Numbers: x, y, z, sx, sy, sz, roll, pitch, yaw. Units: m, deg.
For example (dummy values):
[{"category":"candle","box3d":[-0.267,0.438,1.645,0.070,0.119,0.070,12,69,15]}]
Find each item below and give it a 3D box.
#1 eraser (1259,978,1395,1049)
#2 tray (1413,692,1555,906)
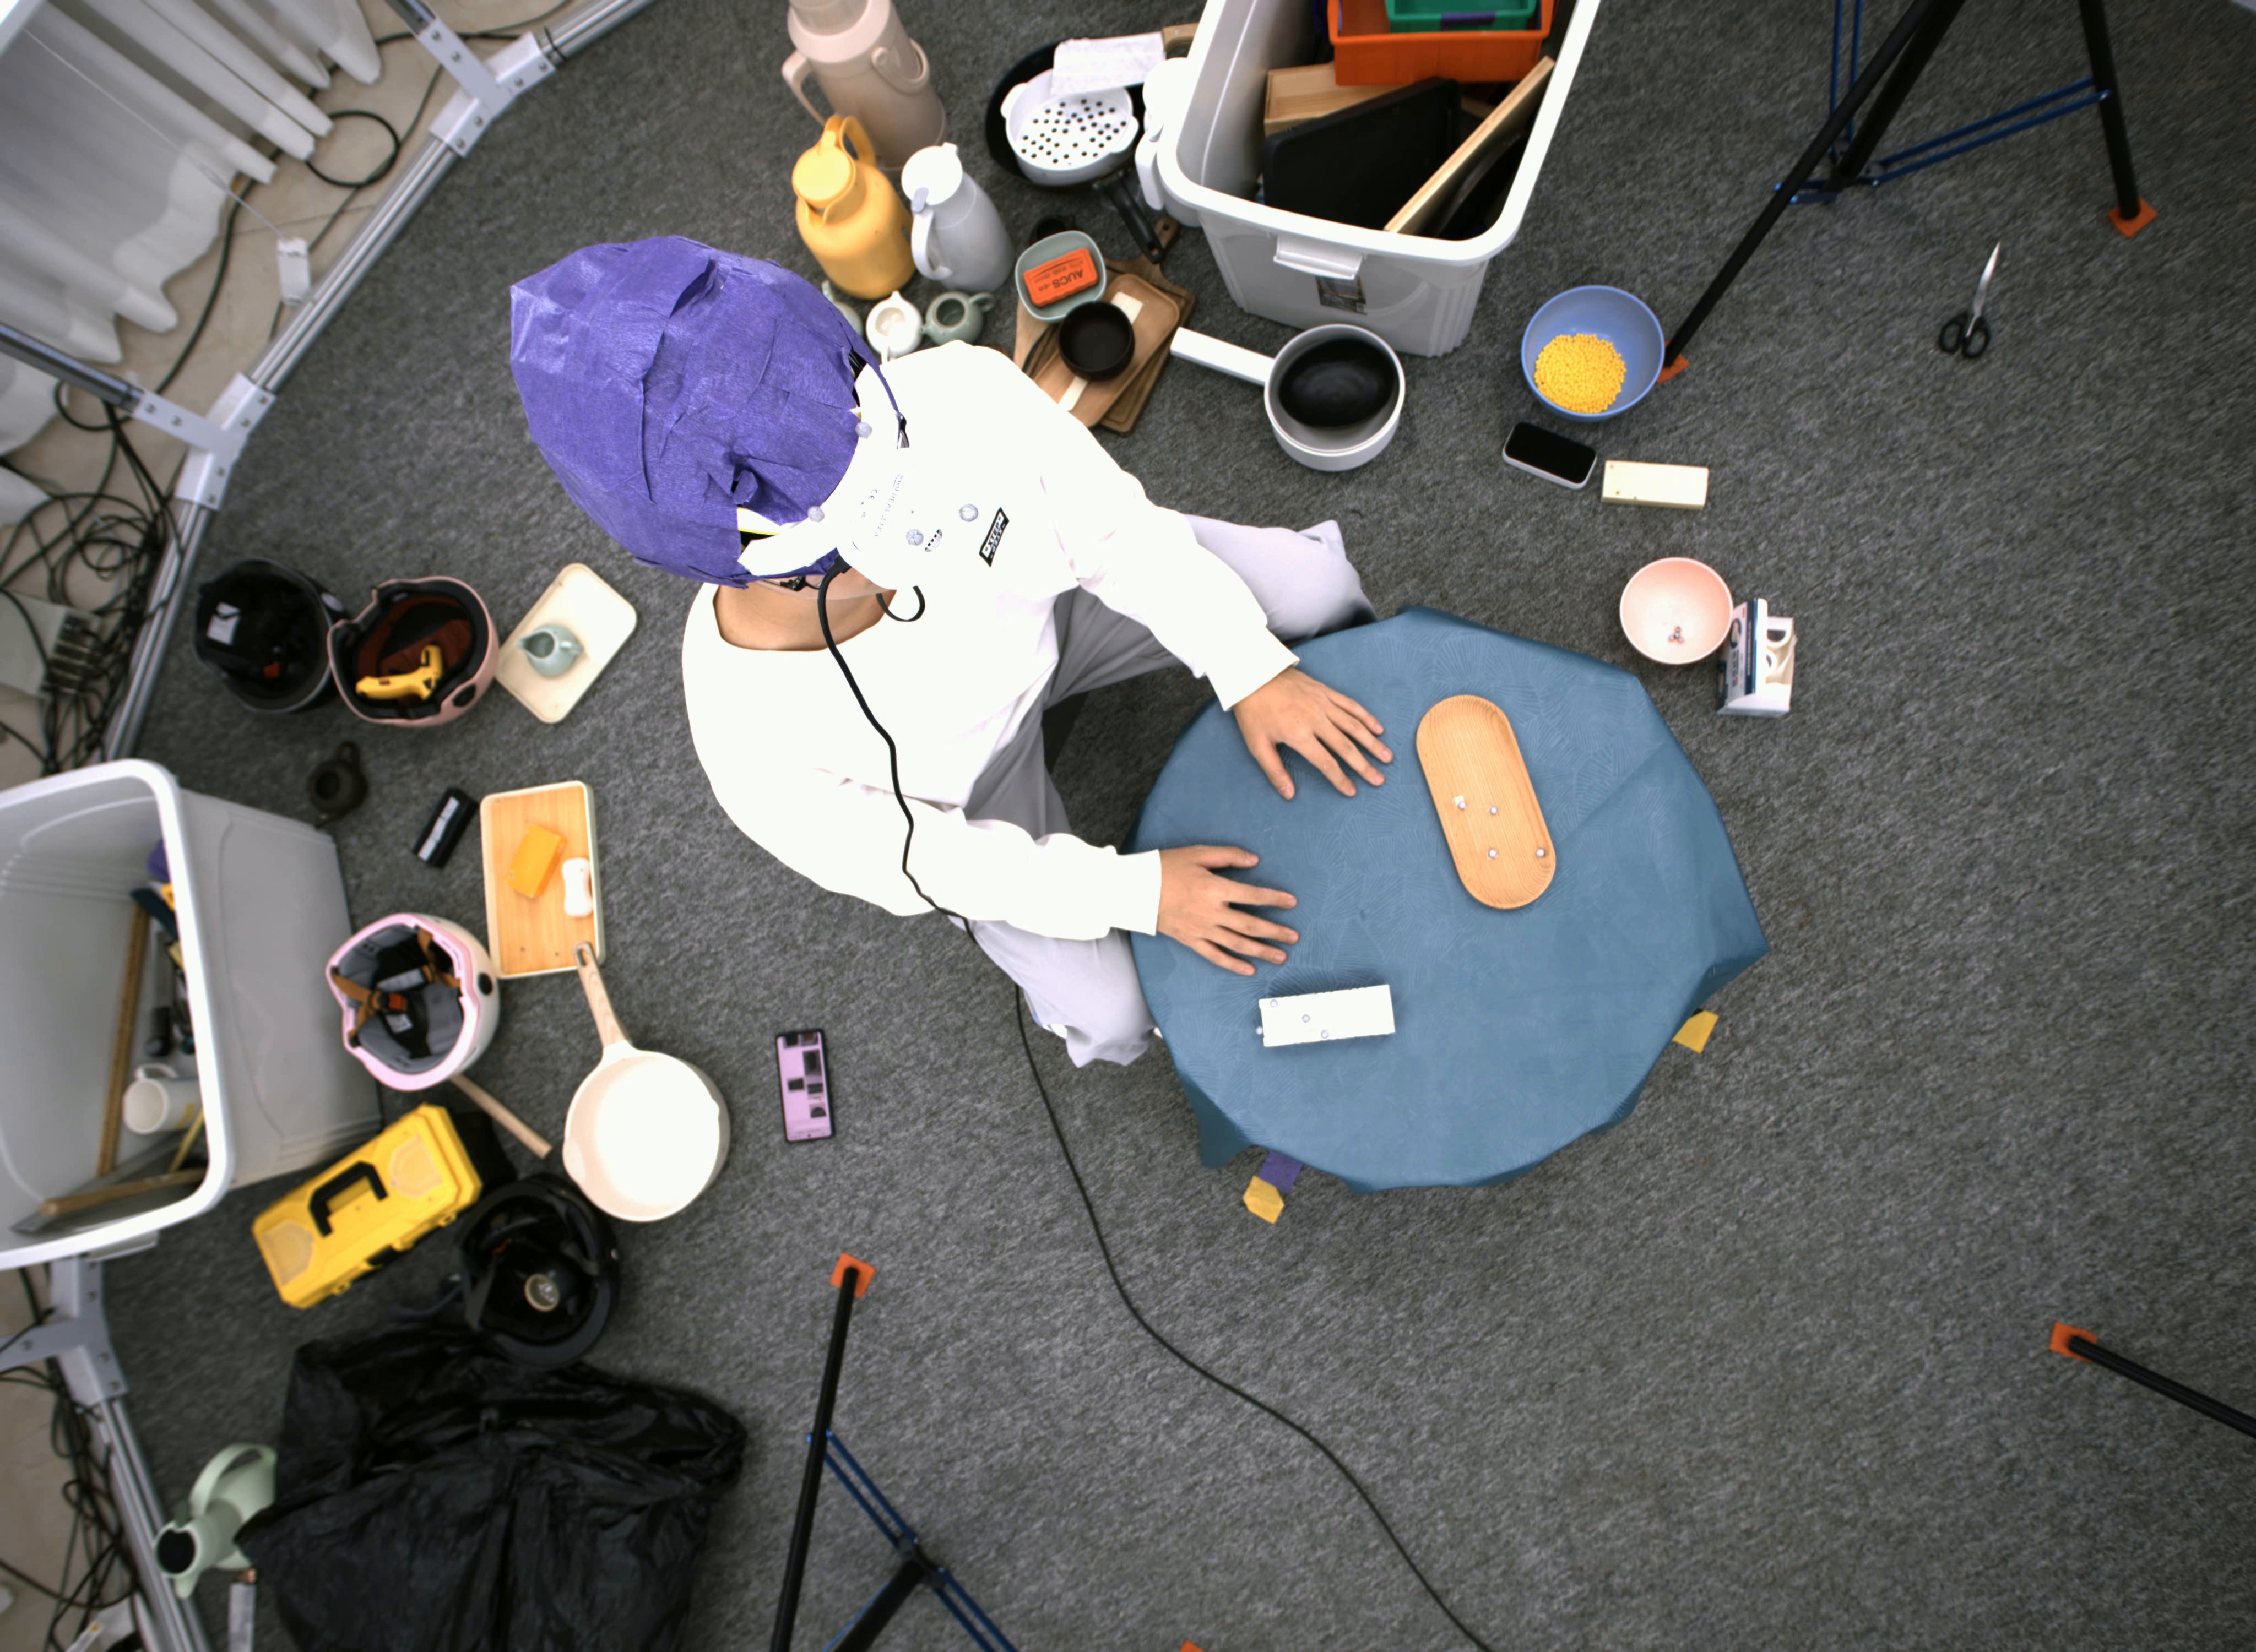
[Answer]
[{"category":"eraser","box3d":[0.207,0.194,1.440,0.135,0.047,0.049,-12,78,10]},{"category":"tray","box3d":[0.372,-0.031,1.438,0.102,0.020,0.229,-19,82,8]}]
